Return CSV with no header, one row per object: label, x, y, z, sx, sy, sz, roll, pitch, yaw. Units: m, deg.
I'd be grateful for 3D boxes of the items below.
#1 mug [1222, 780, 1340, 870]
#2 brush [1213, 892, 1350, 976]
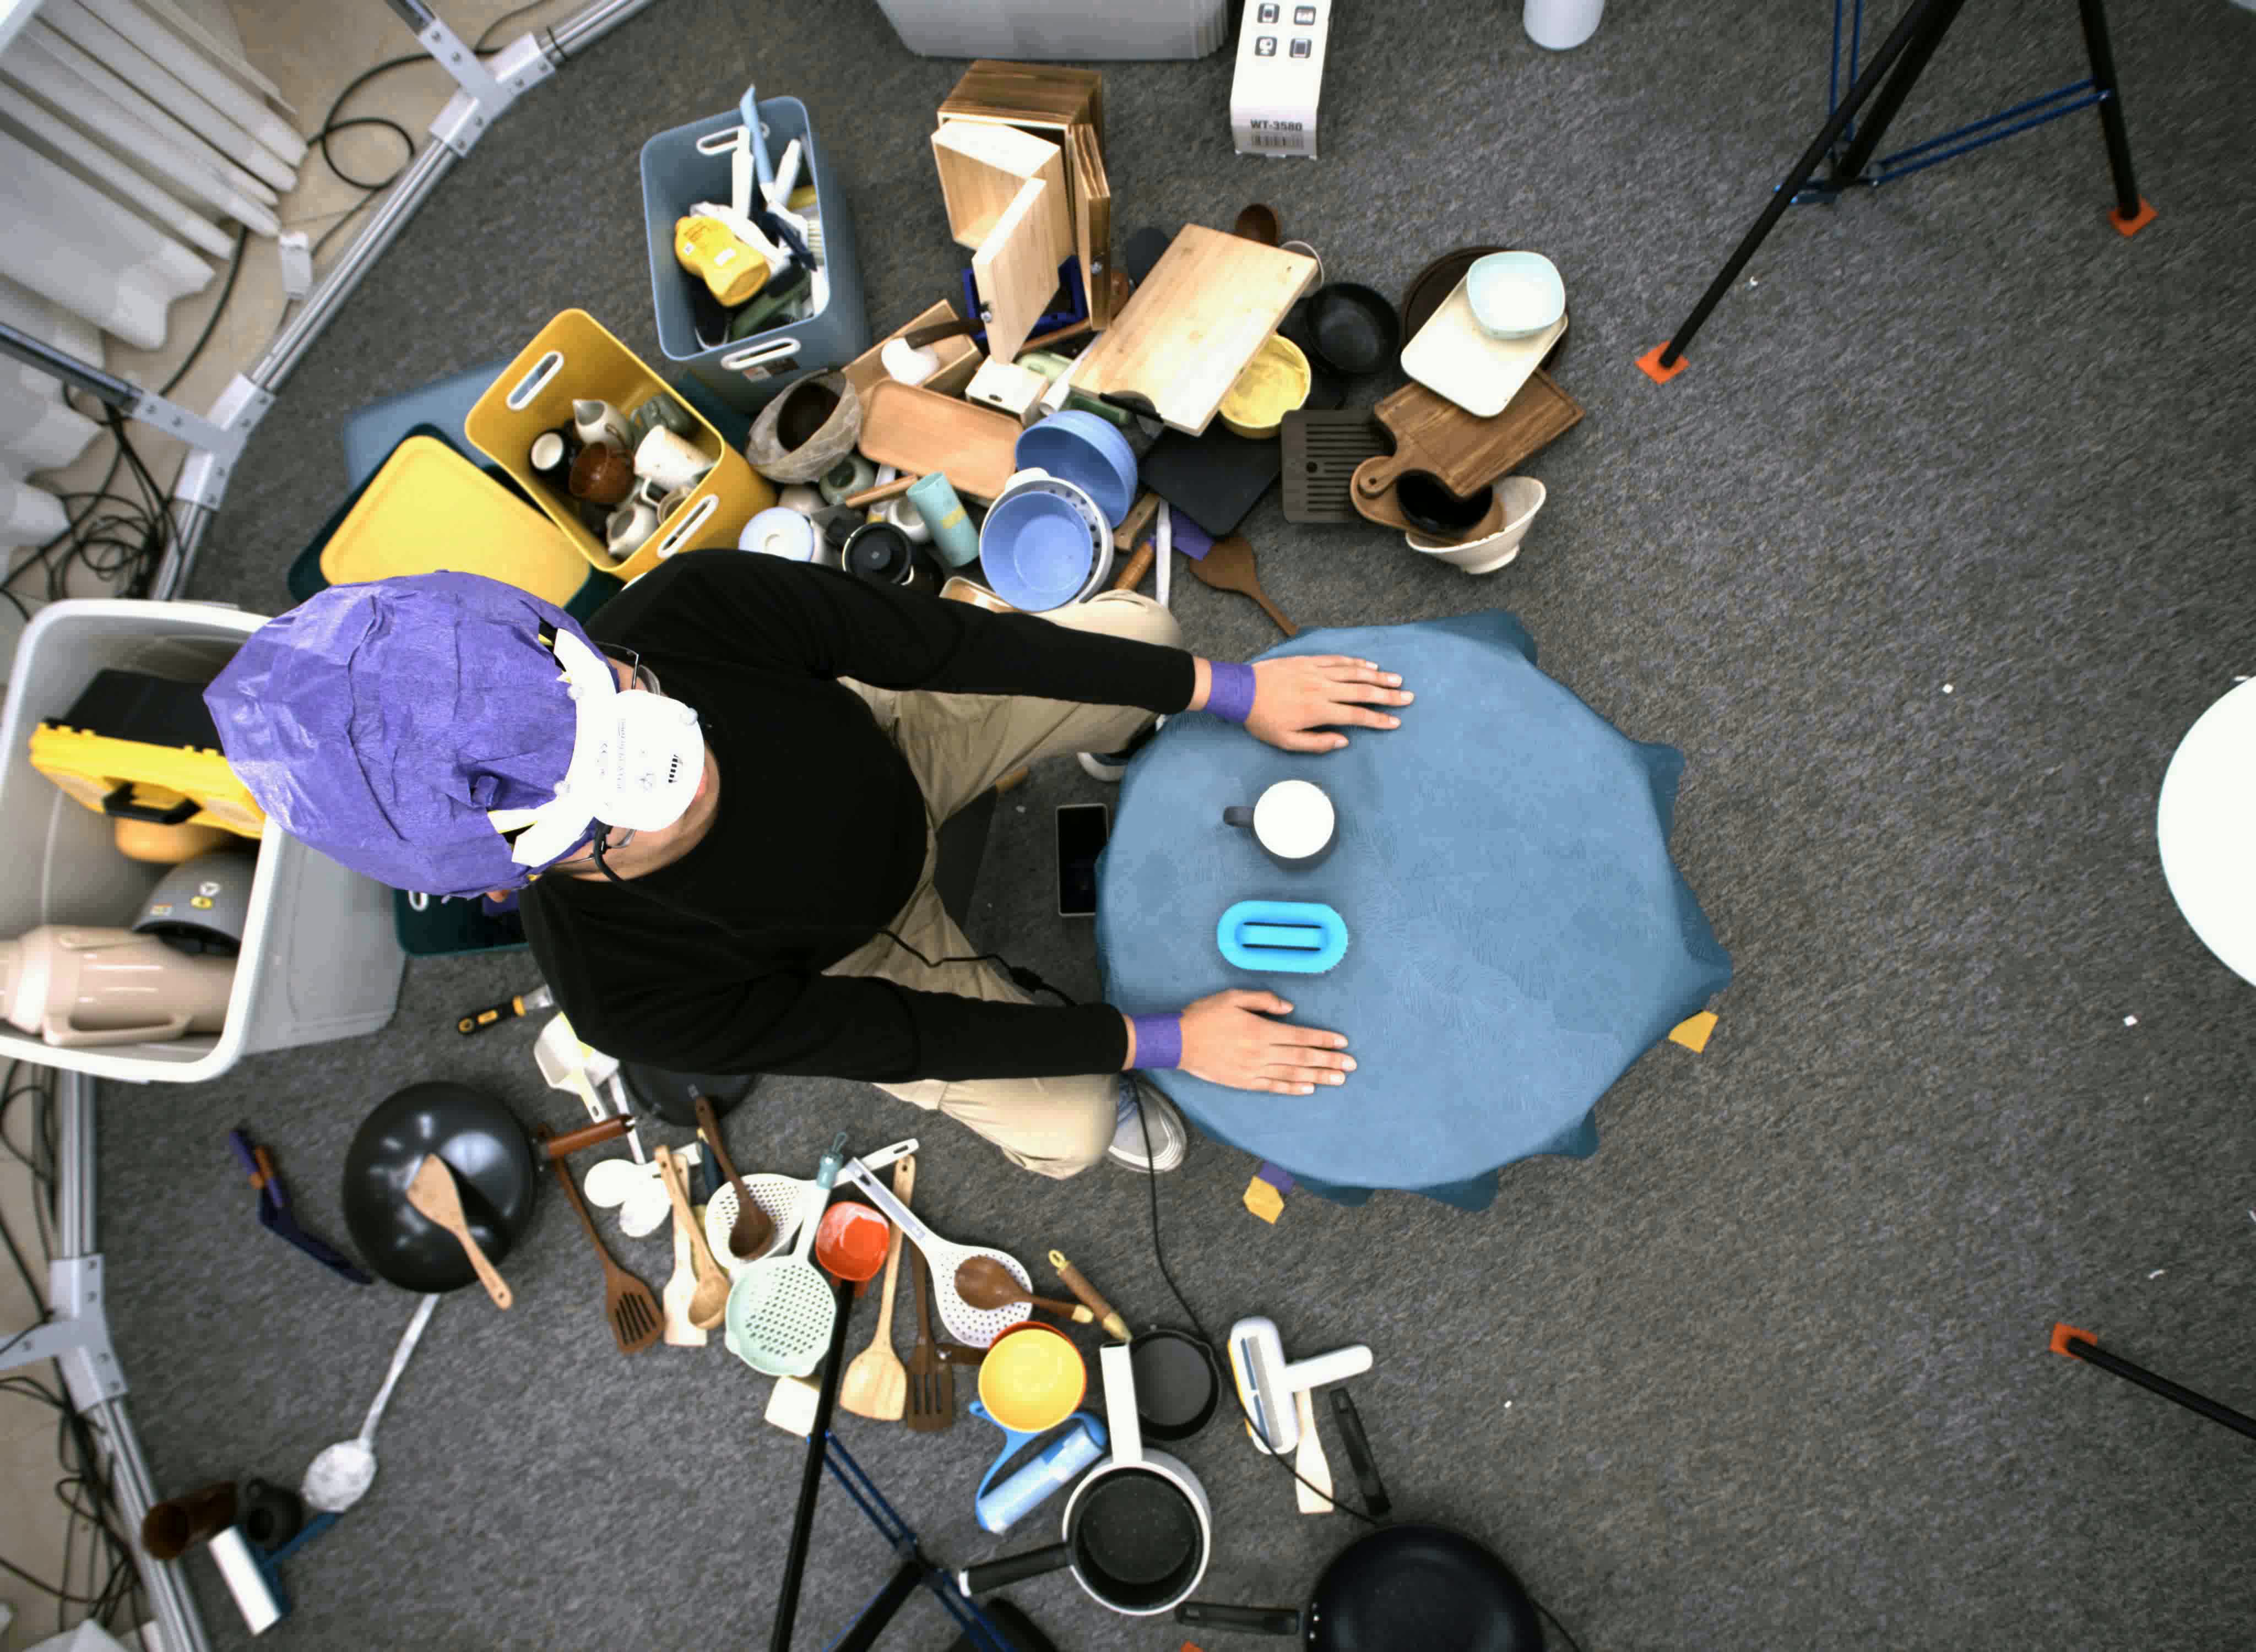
mug,0.159,-0.007,1.436,0.123,0.090,0.093,9,86,9
brush,0.159,0.111,1.444,0.142,0.063,0.084,3,91,11
